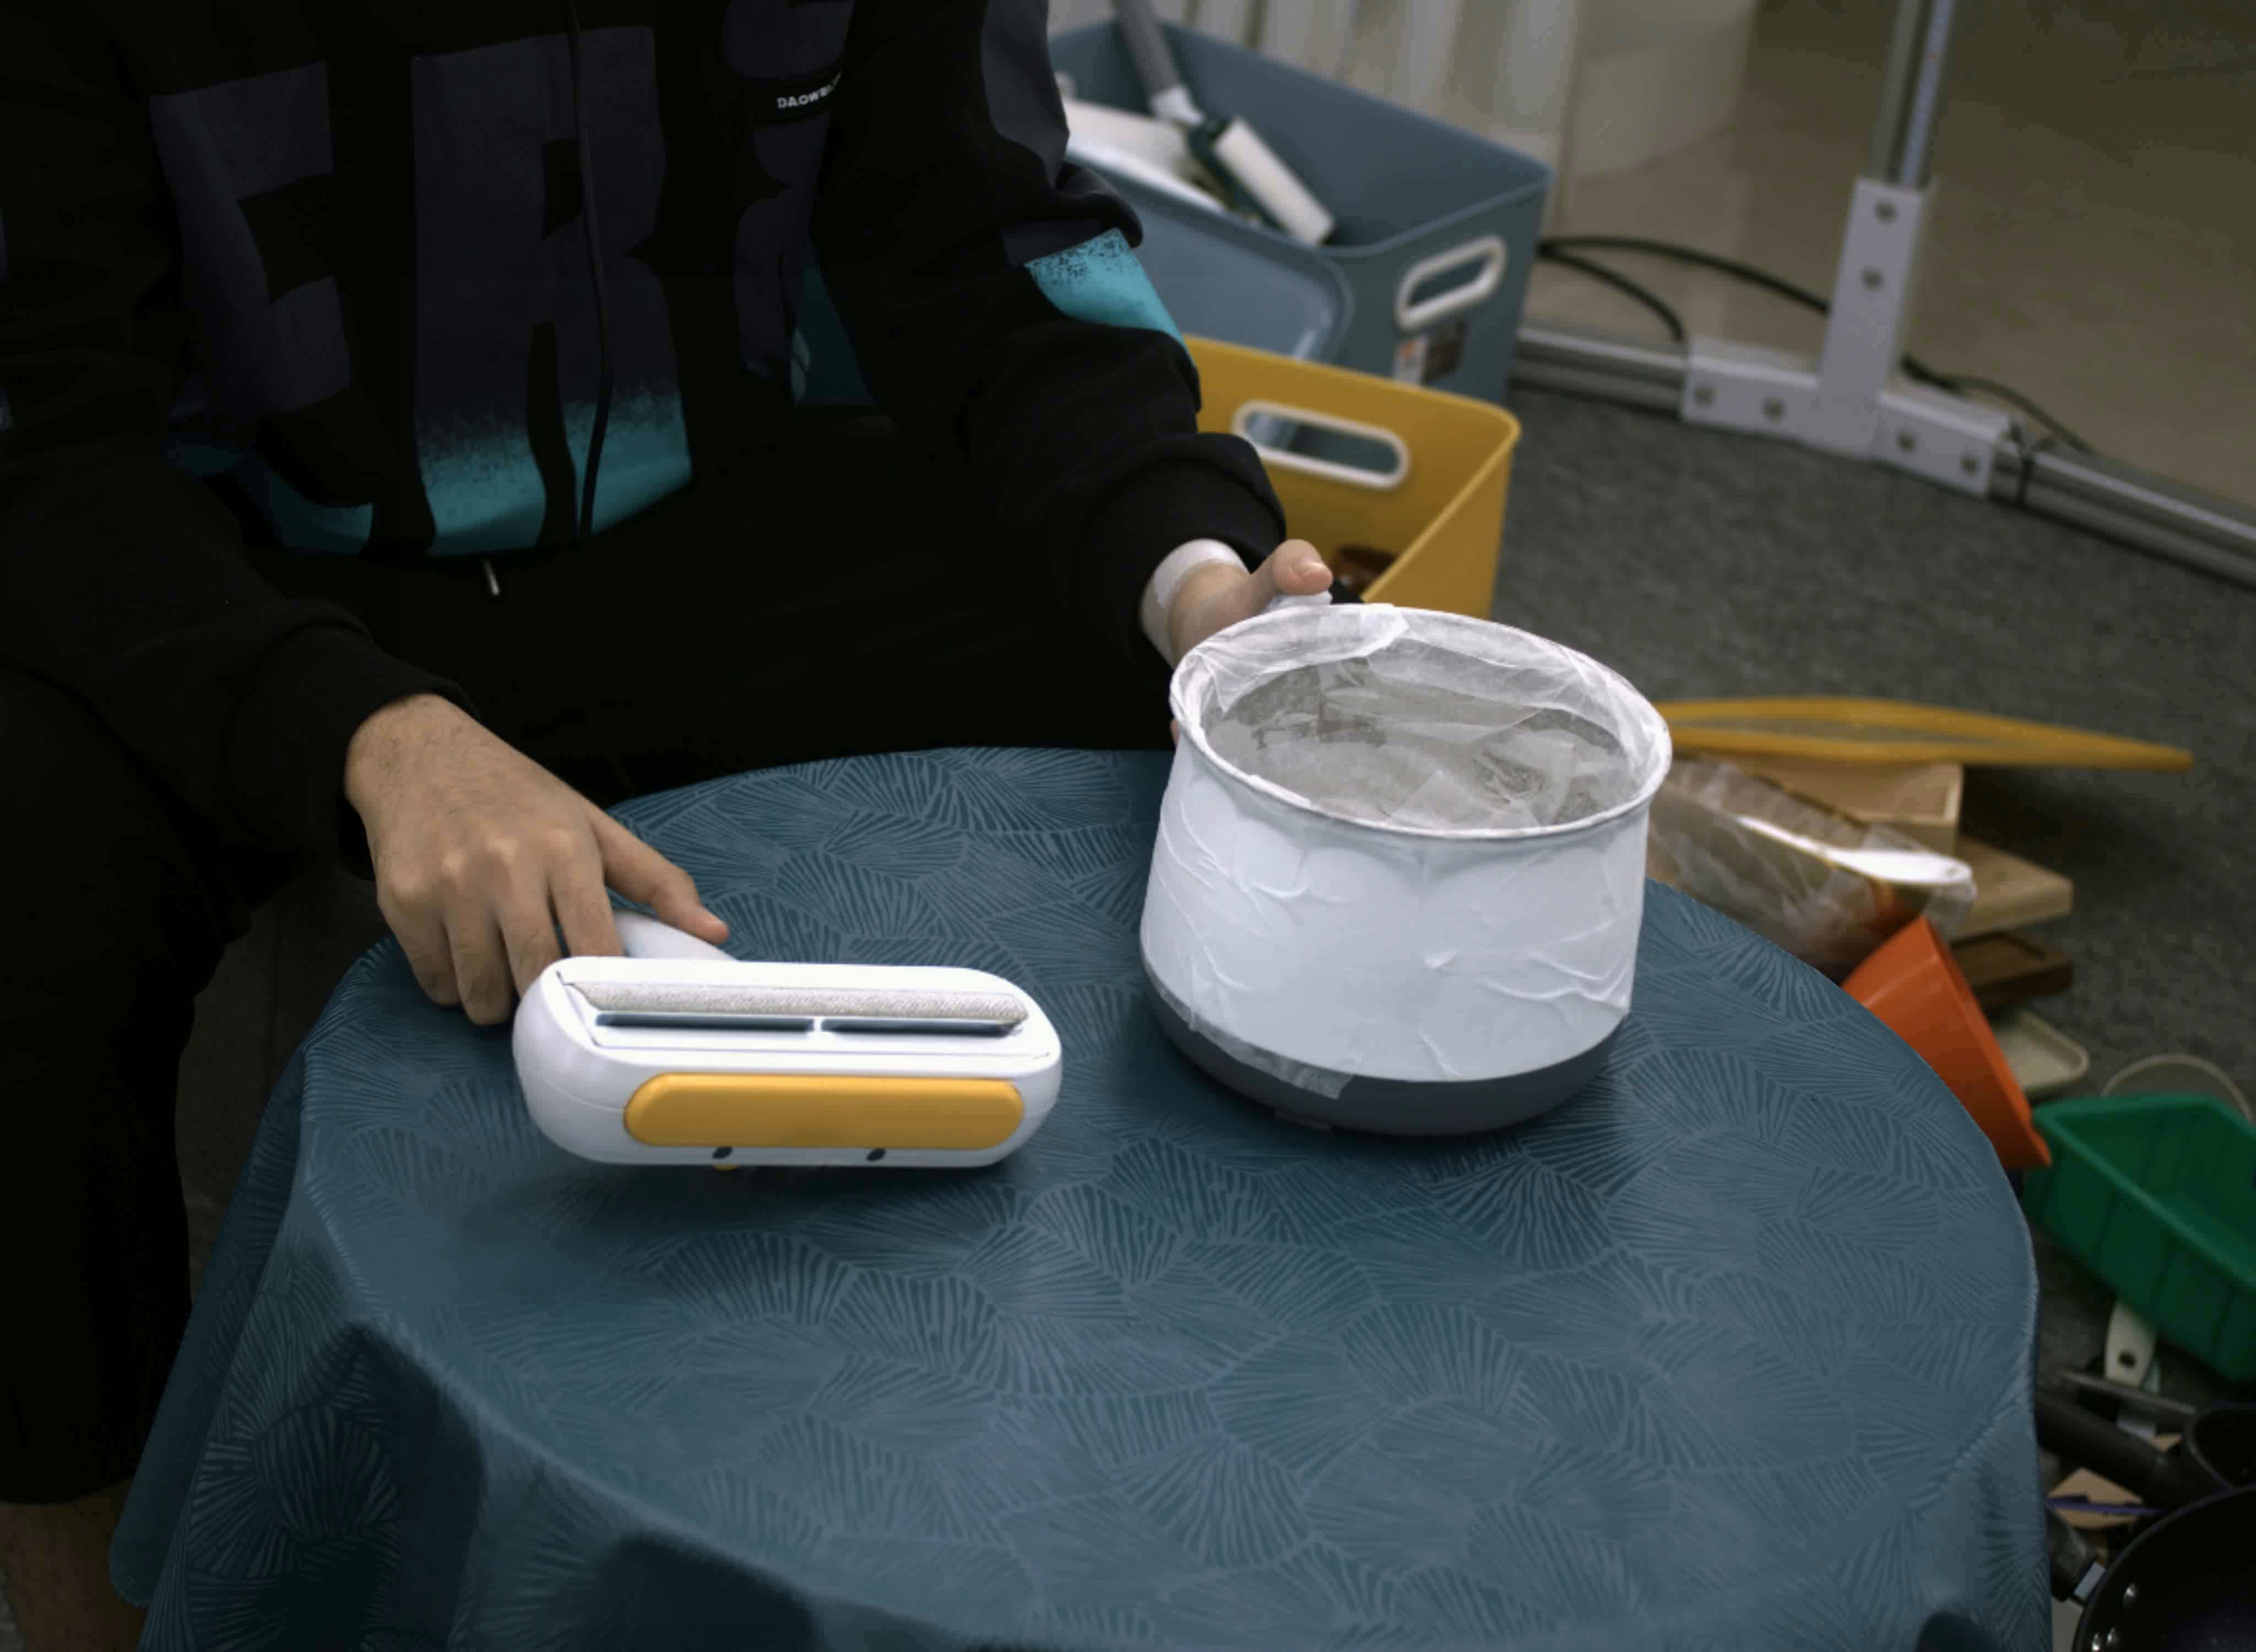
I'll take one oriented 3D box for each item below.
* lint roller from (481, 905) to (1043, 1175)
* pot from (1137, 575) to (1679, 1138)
[{"bbox_3d":[-0.143,0.060,1.817,0.191,0.074,0.194,0,25,-24],"label":"lint roller"},{"bbox_3d":[0.085,0.004,1.899,0.177,0.136,0.236,-4,30,-23],"label":"pot"}]
